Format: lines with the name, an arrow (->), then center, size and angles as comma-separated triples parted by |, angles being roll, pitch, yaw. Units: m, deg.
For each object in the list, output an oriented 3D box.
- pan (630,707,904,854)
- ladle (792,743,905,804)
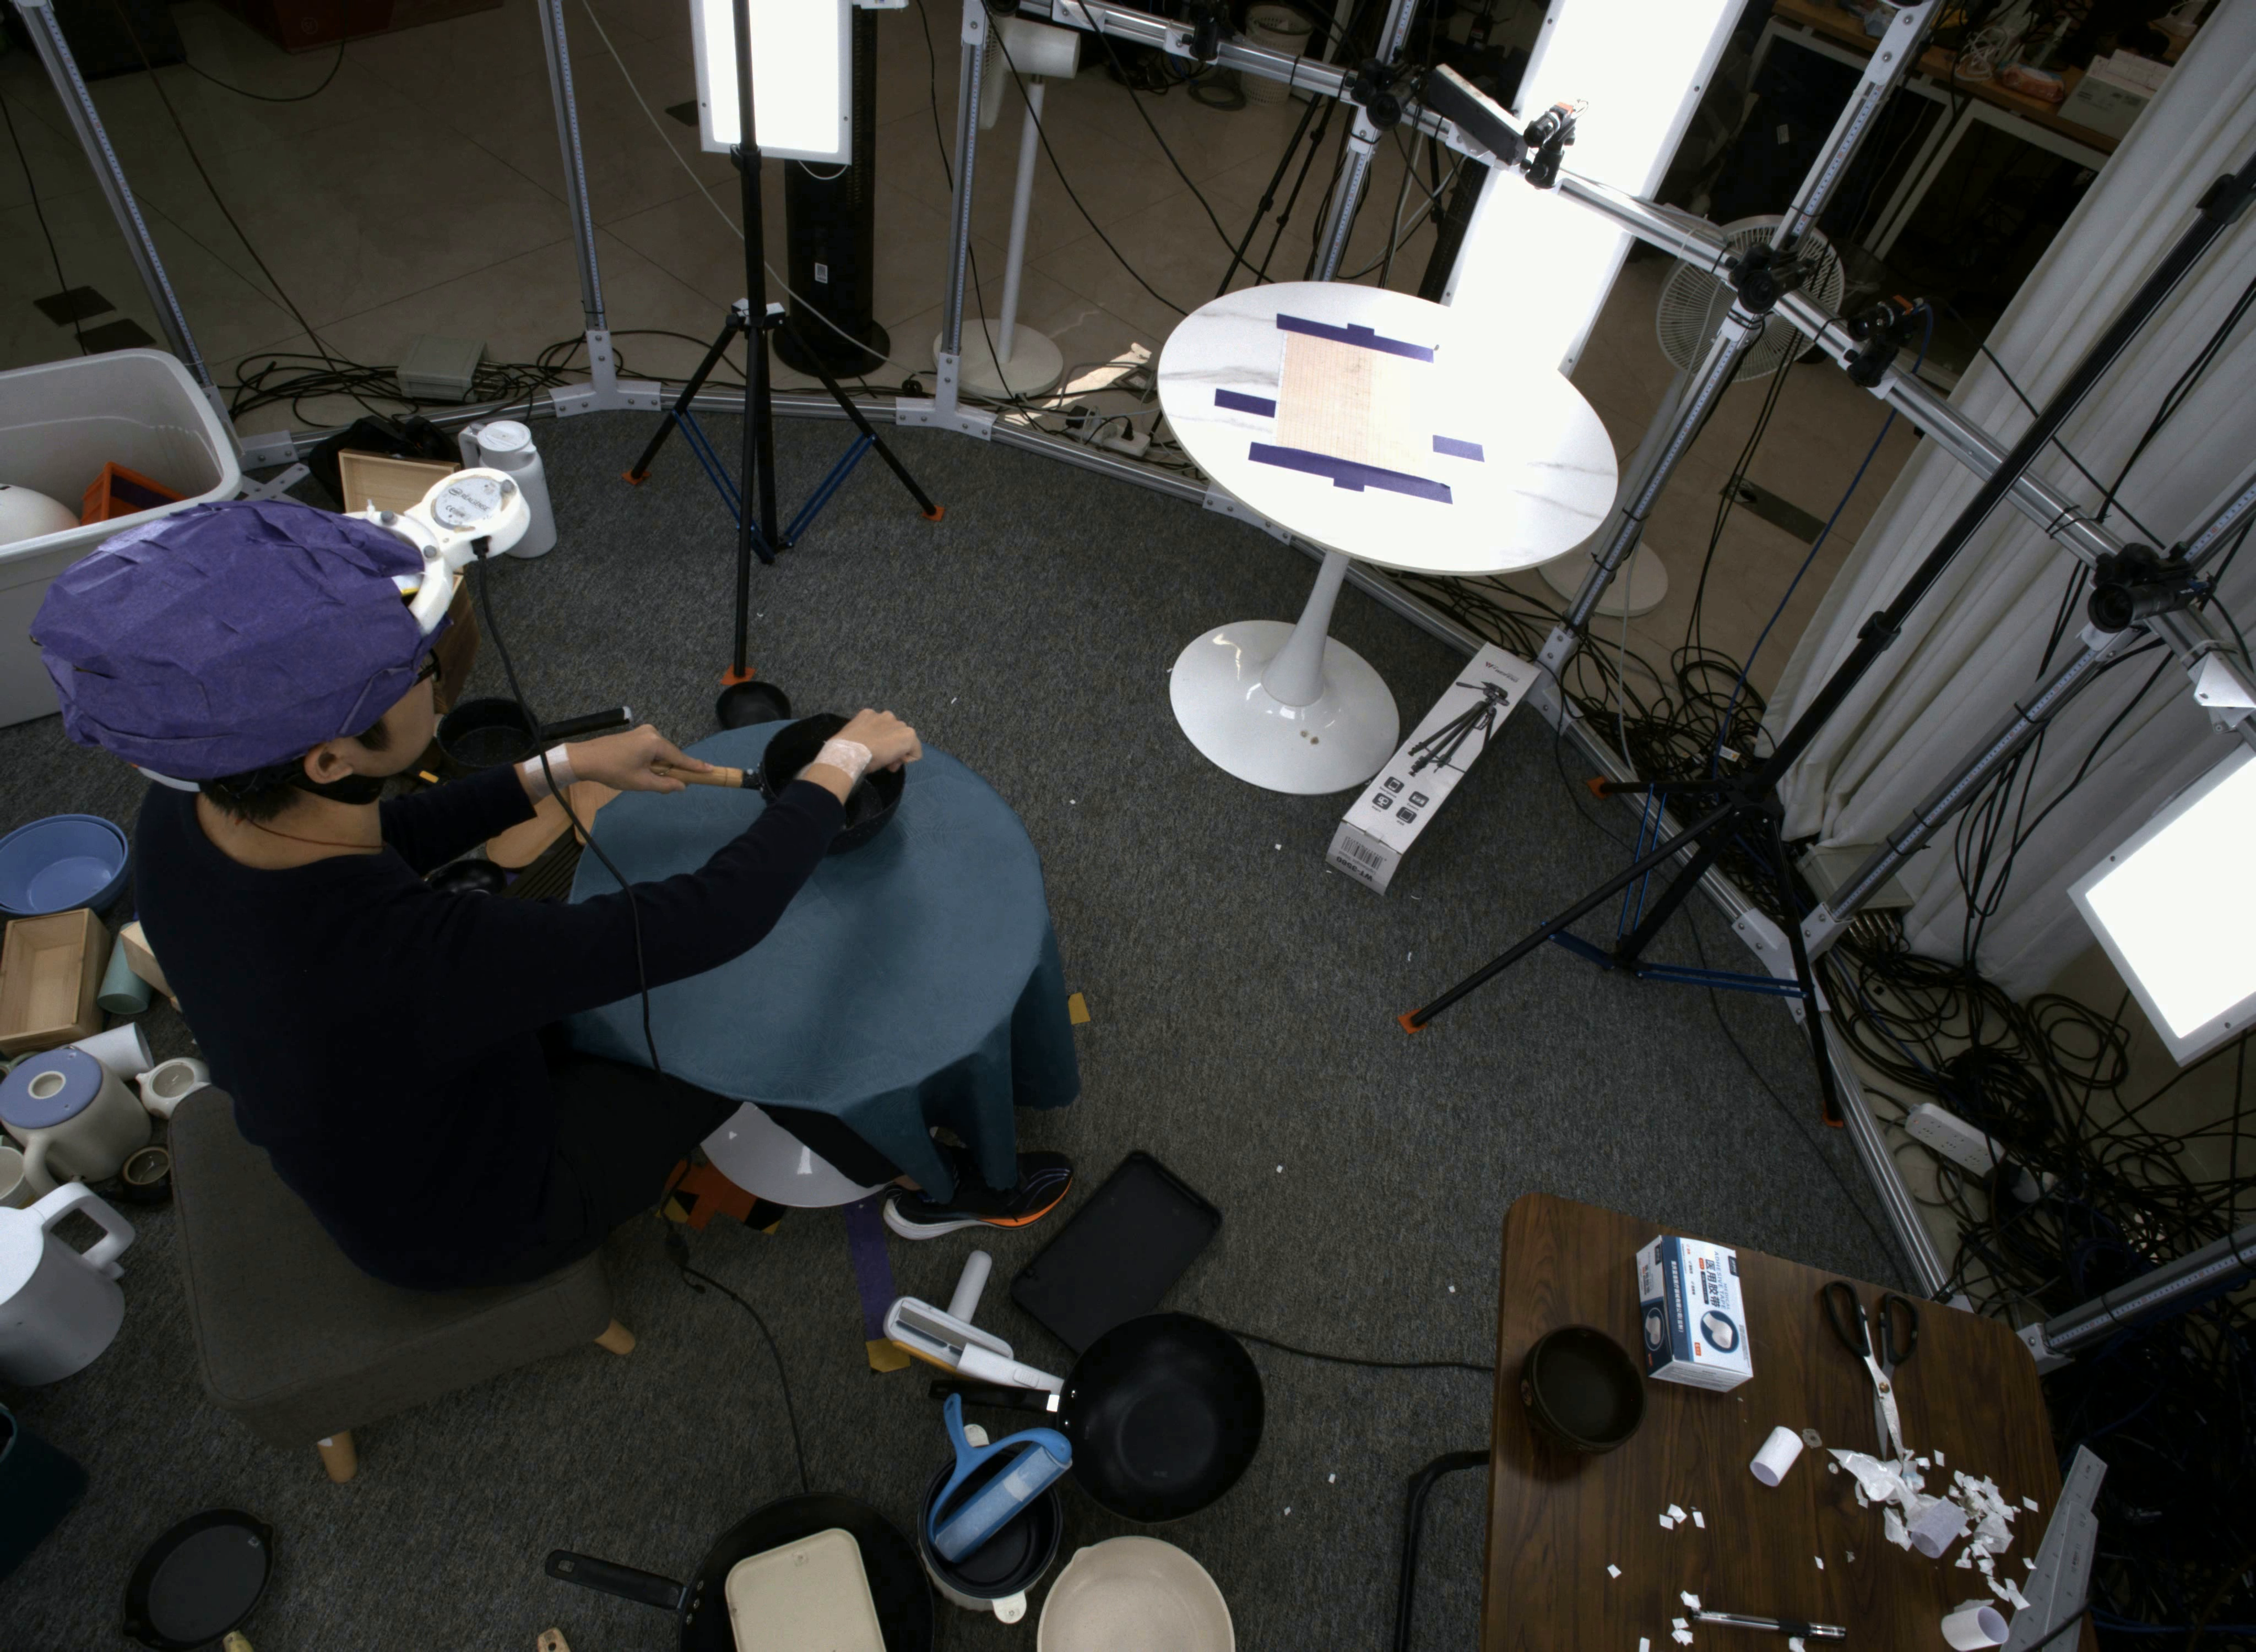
pan -> -0.460, -0.053, 1.656 | 0.346, 0.109, 0.203 | -3, 55, -26
ladle -> -0.347, -0.090, 1.631 | 0.090, 0.270, 0.070 | -19, 86, -34
